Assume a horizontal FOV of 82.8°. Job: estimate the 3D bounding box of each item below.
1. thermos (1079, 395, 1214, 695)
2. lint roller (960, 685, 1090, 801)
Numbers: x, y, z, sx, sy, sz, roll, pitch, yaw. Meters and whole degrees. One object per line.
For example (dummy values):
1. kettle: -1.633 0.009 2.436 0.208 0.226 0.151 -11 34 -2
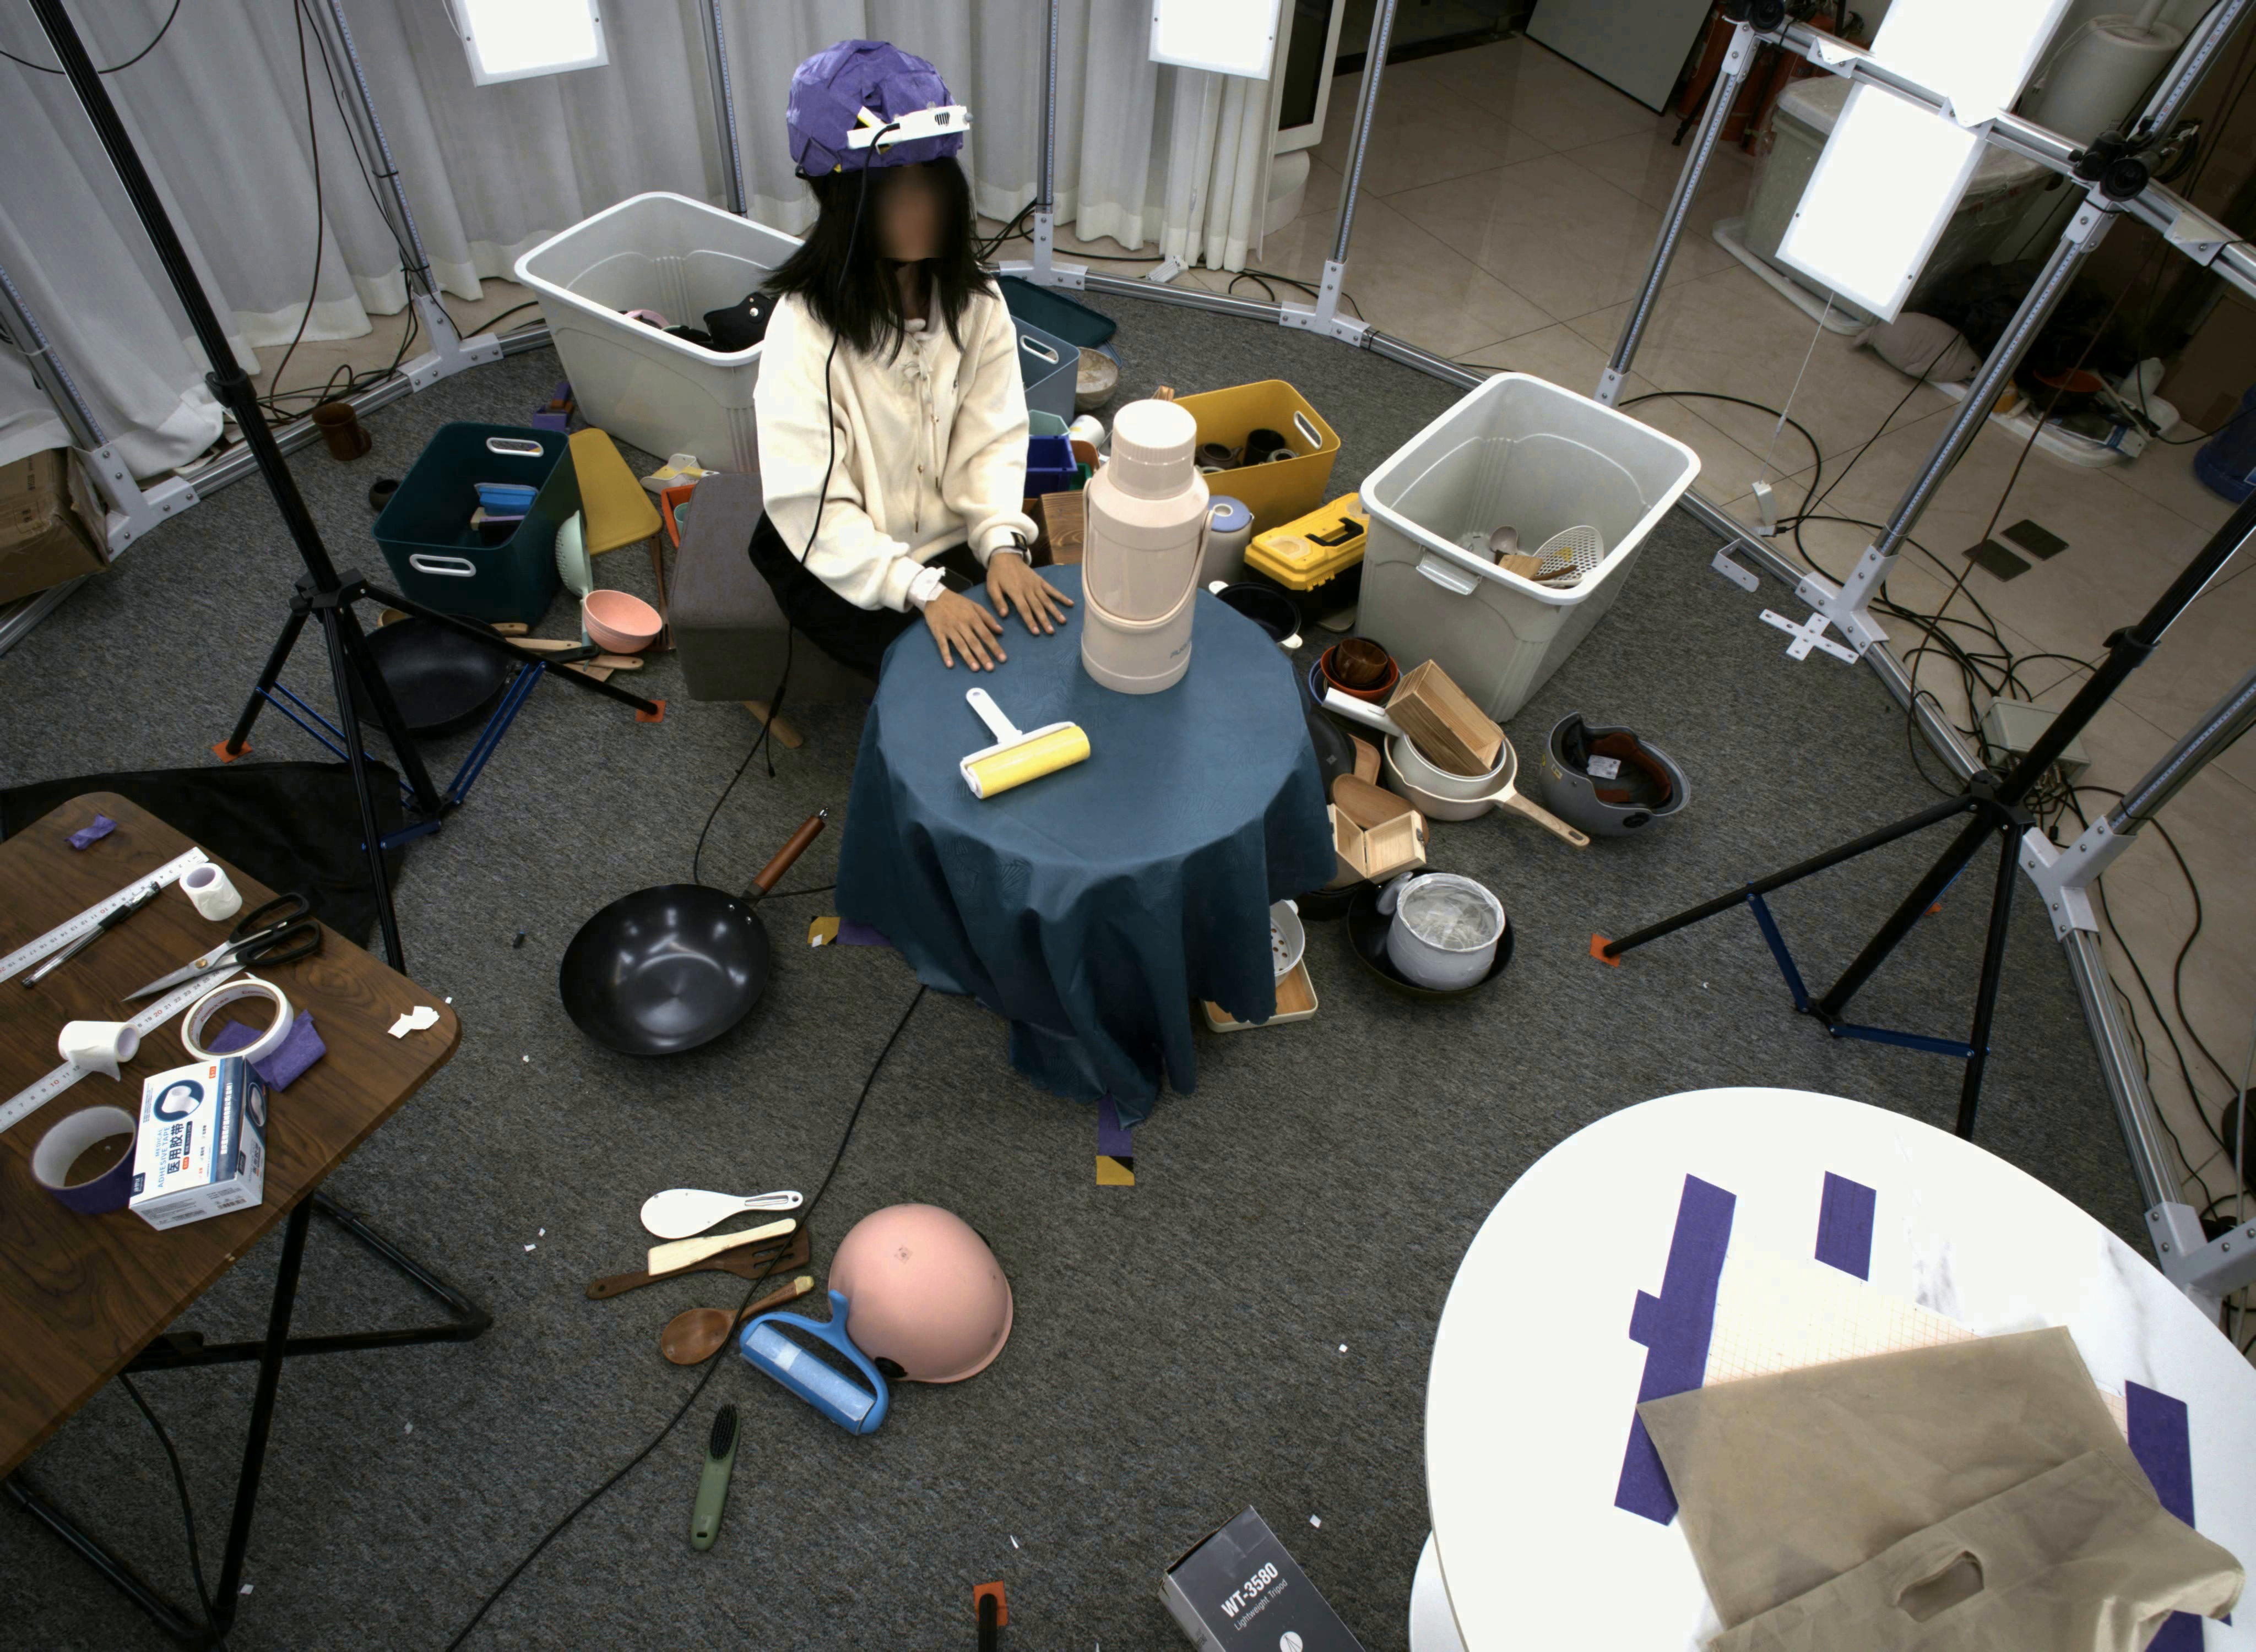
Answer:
1. thermos: 0.027 -0.383 1.748 0.176 0.396 0.211 17 50 11
2. lint roller: -0.169 -0.135 1.741 0.175 0.050 0.196 -23 60 -22
